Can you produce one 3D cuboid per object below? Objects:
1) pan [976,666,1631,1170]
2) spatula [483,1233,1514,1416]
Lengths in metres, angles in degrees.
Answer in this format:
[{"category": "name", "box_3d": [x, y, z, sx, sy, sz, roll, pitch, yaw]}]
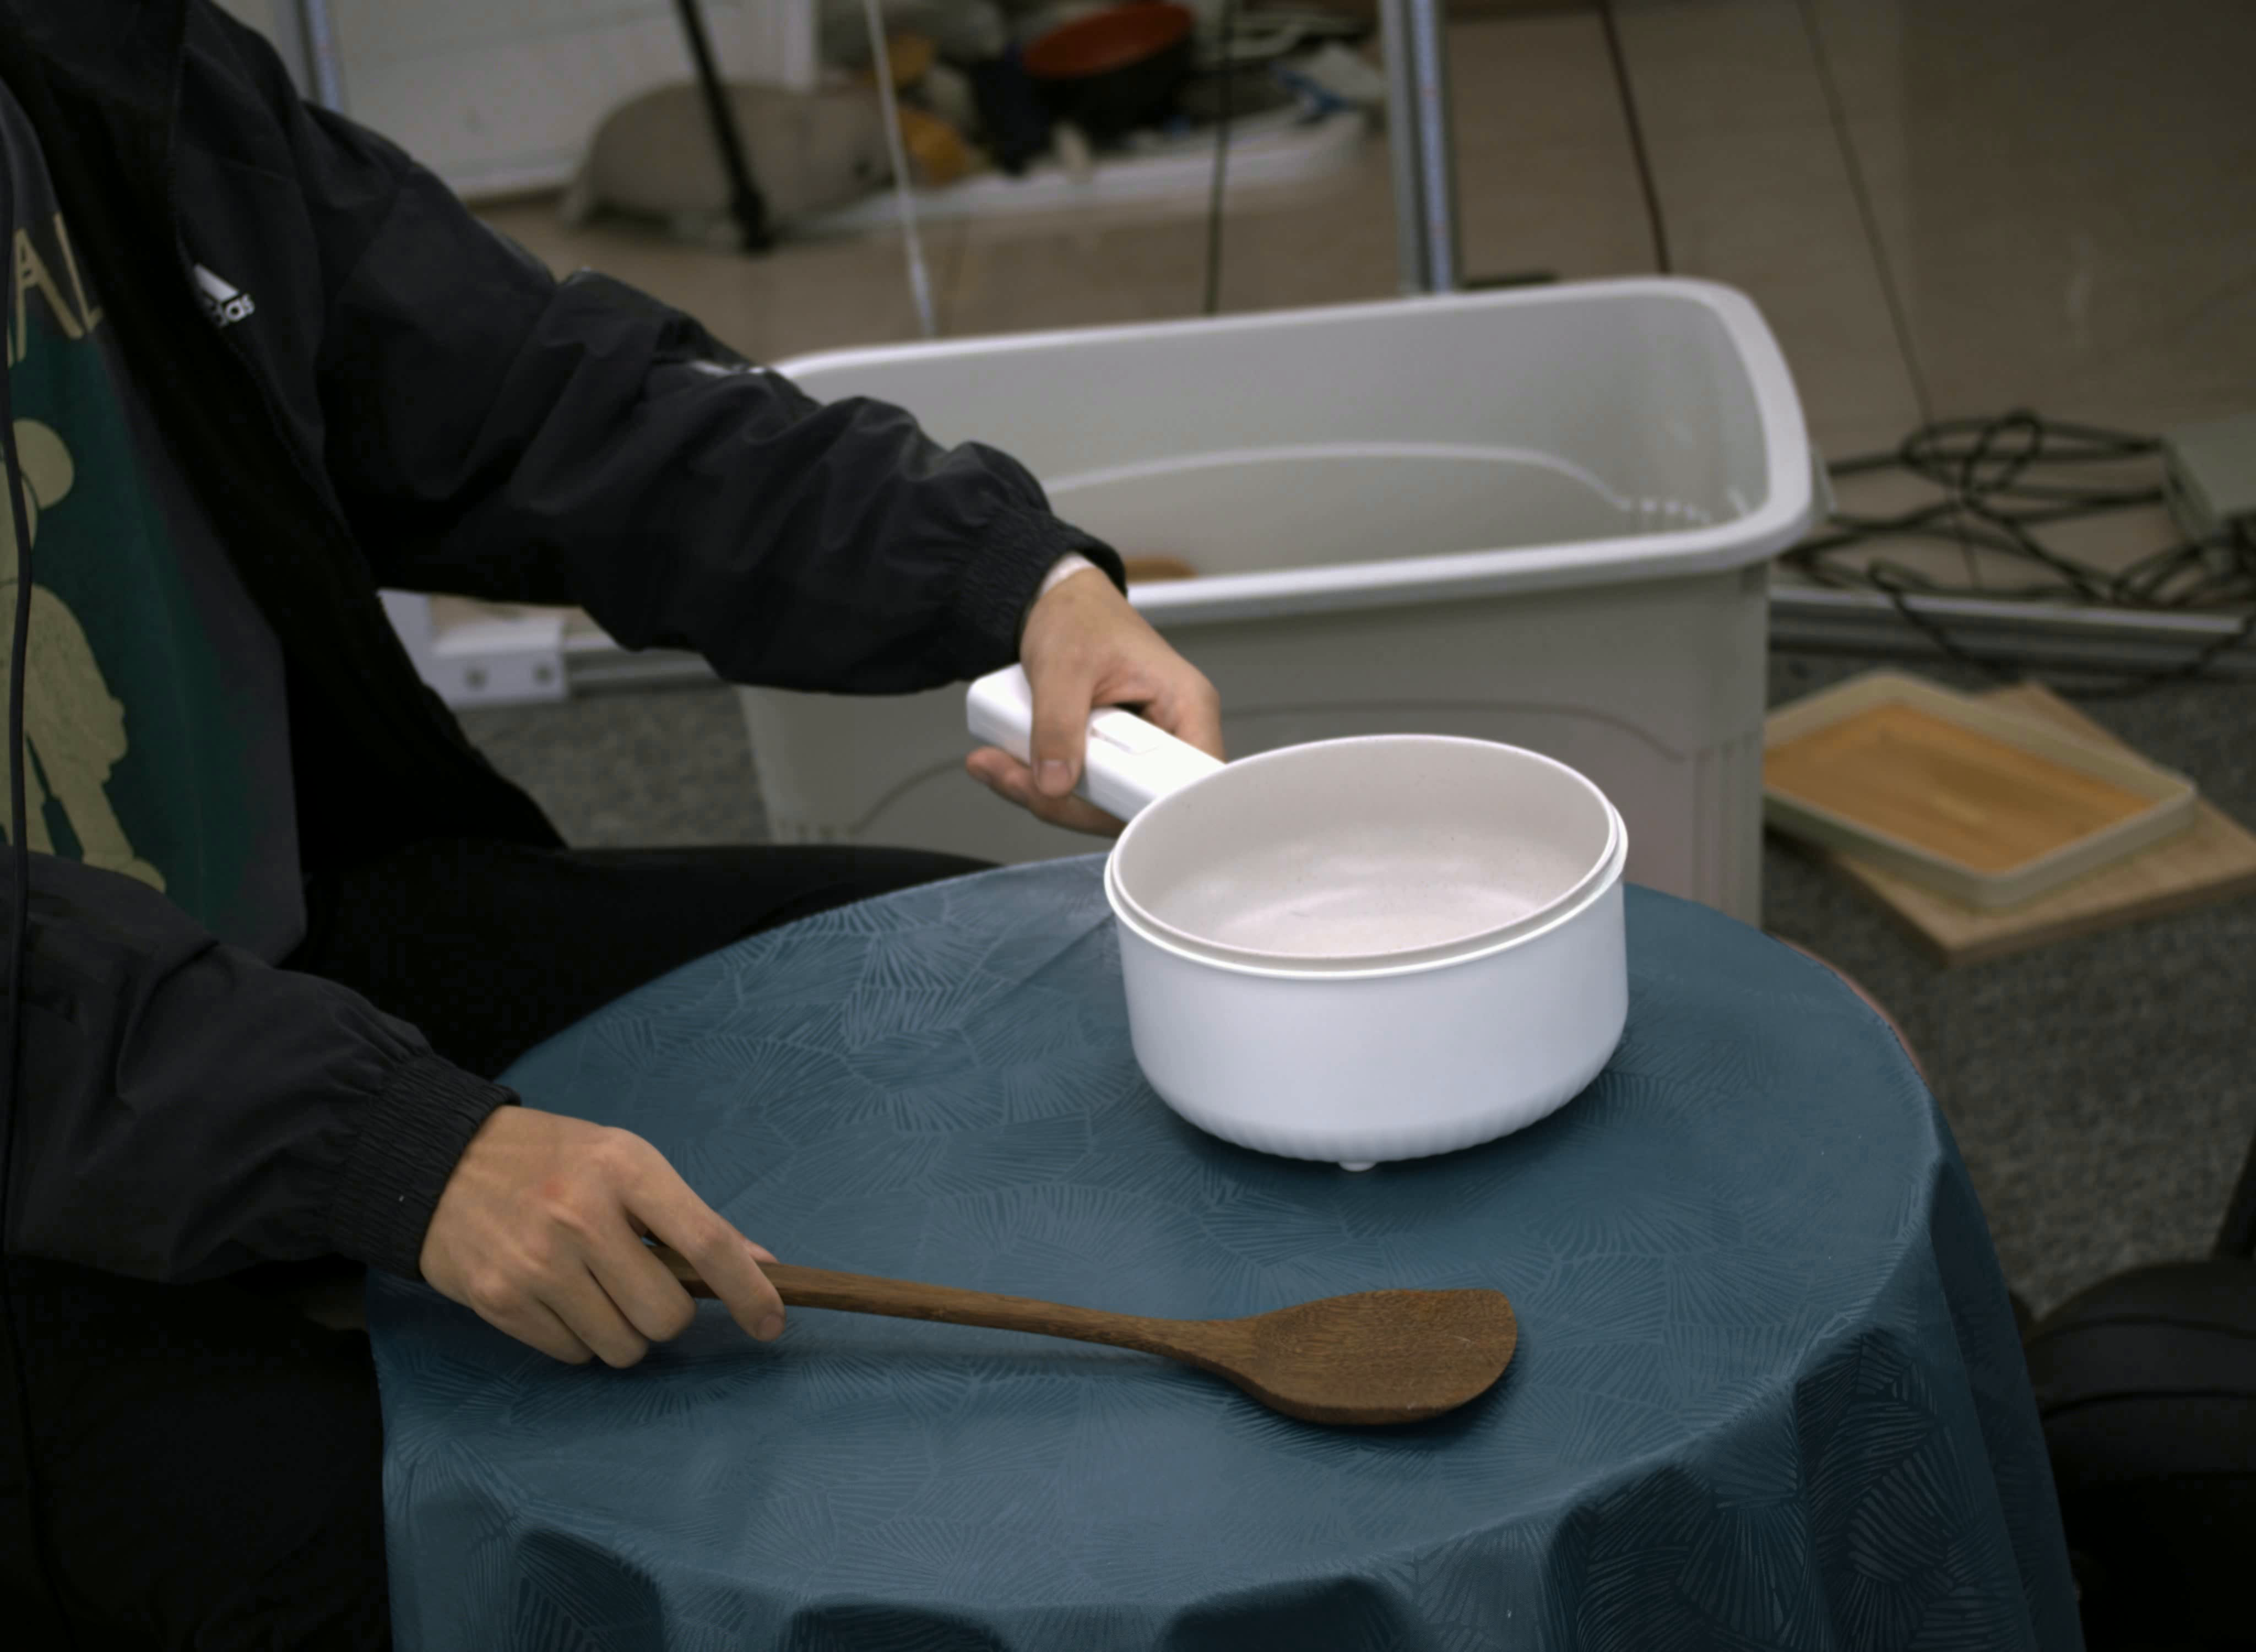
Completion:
[{"category": "pan", "box_3d": [0.053, 0.029, 2.248, 0.200, 0.104, 0.351, -22, 29, -28]}, {"category": "spatula", "box_3d": [-0.052, 0.173, 2.040, 0.385, 0.016, 0.095, 5, 22, 15]}]
